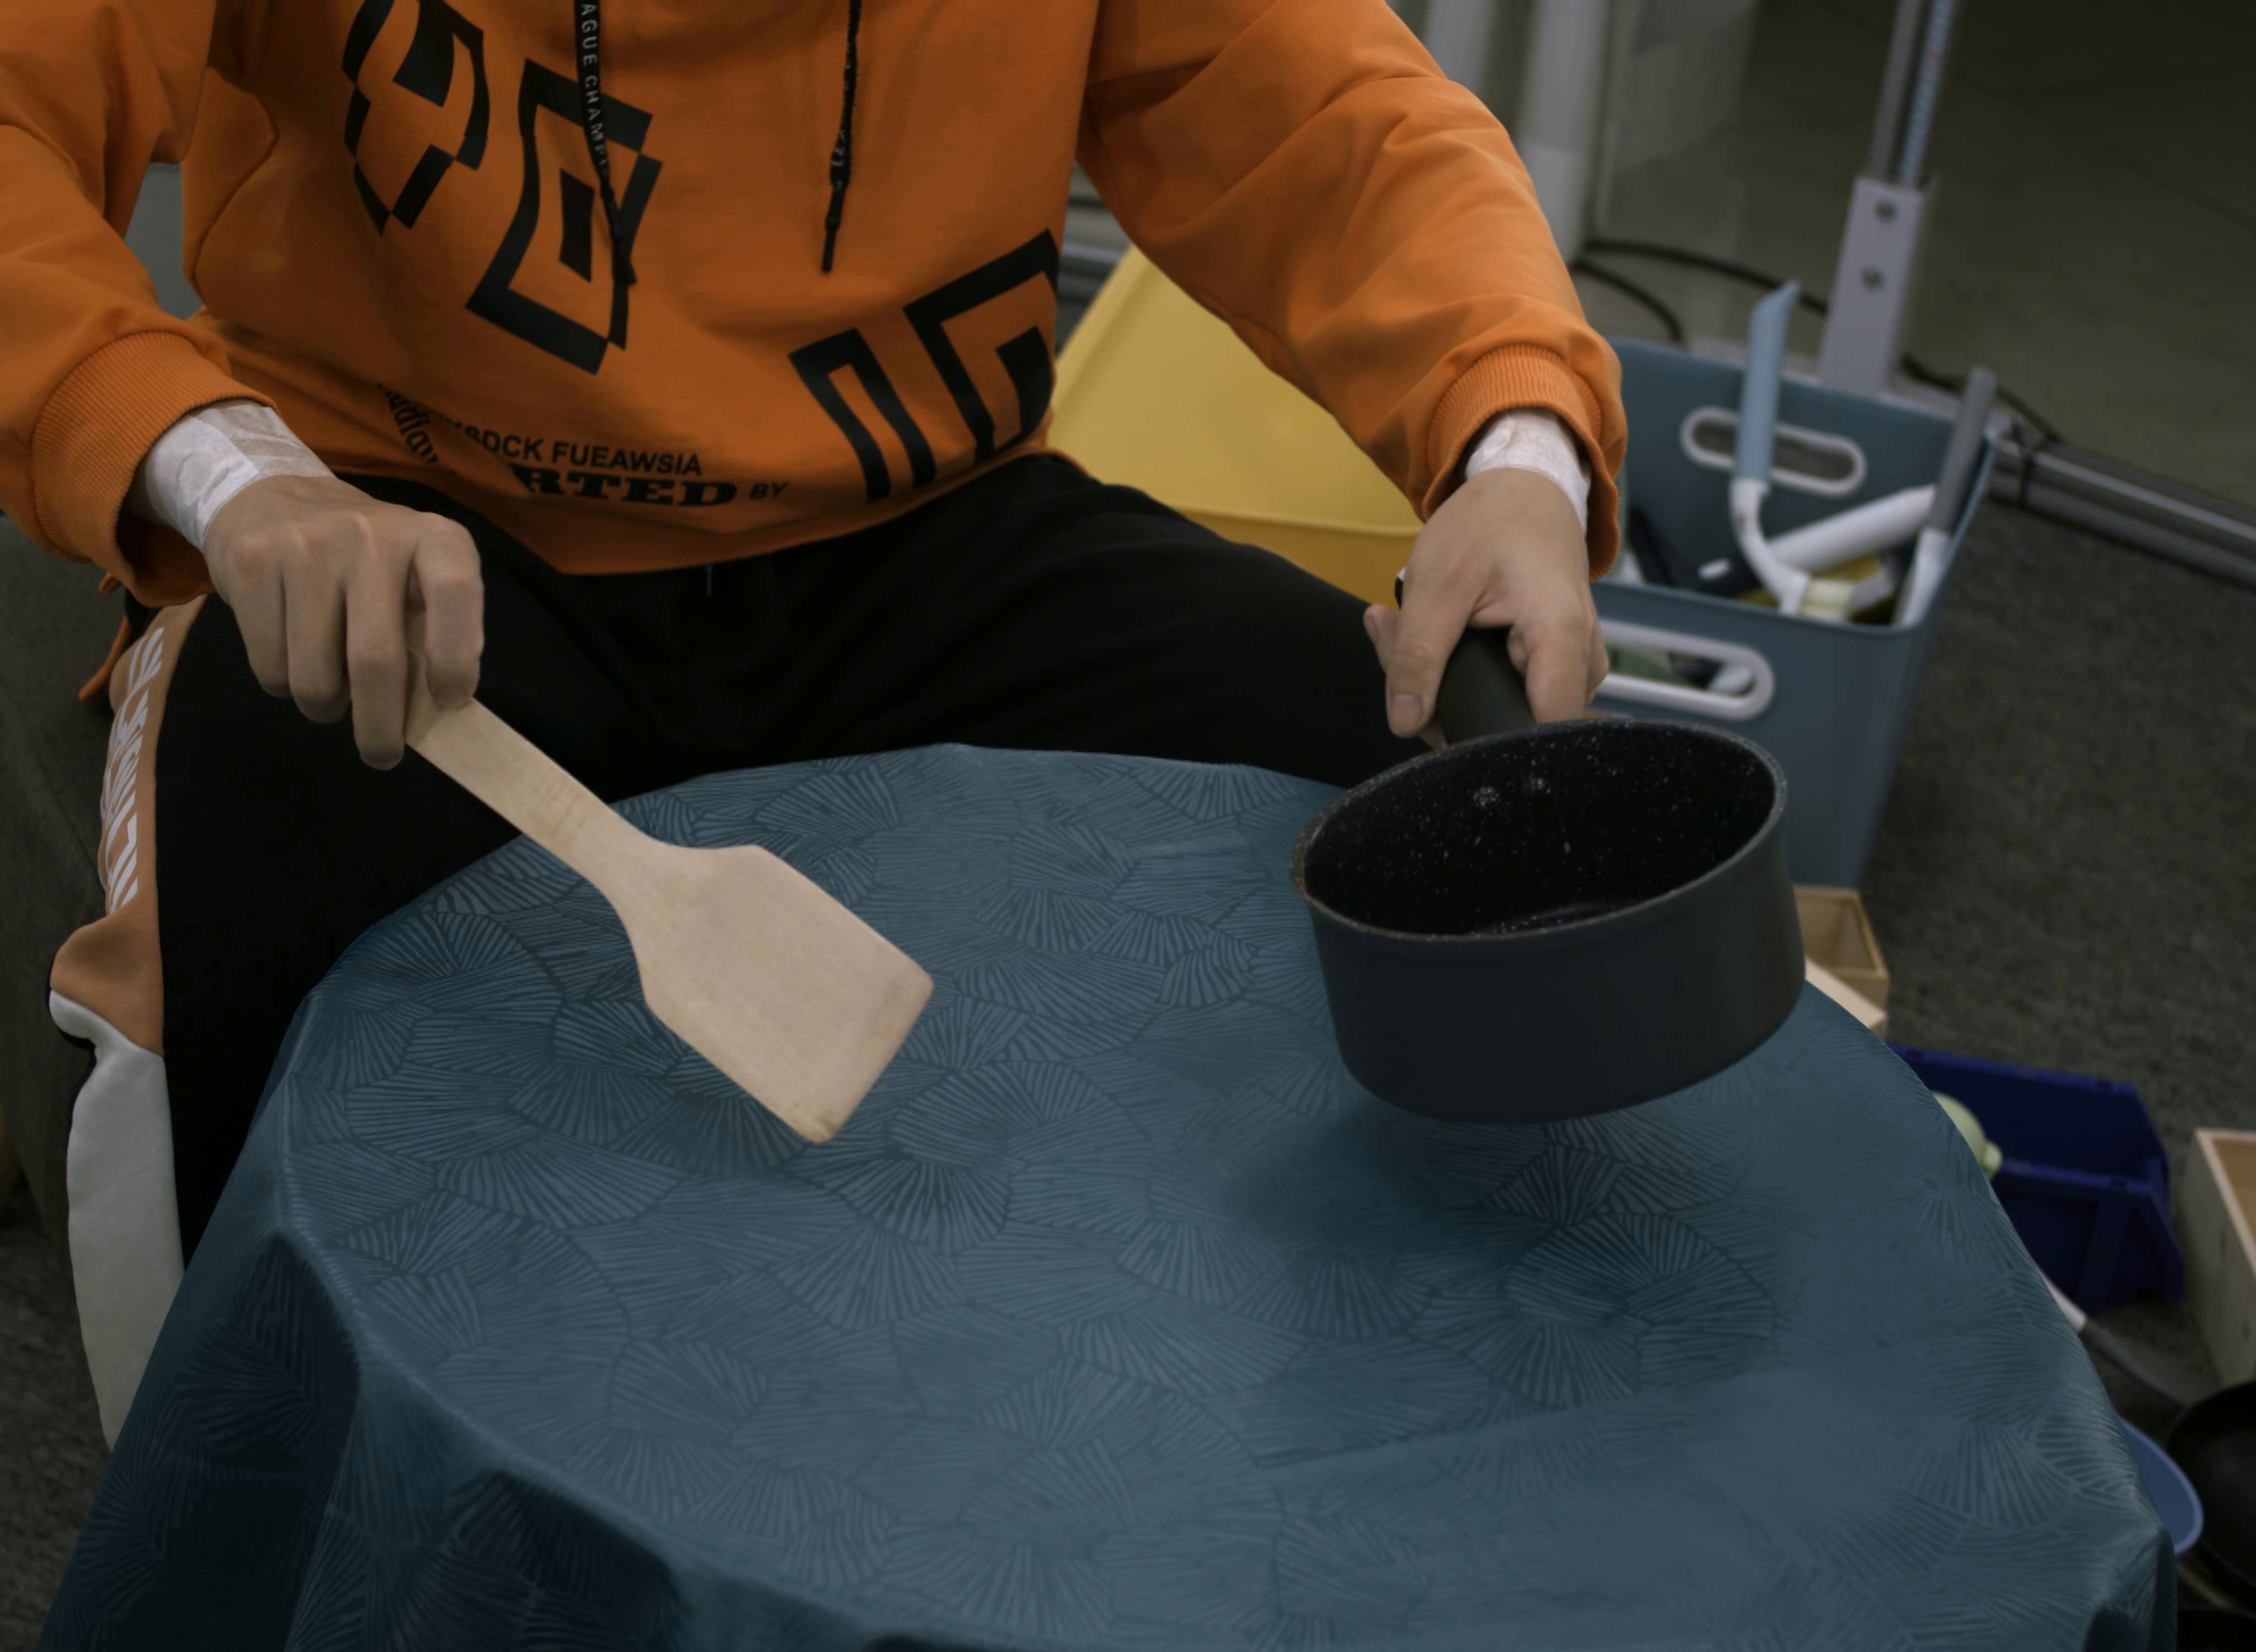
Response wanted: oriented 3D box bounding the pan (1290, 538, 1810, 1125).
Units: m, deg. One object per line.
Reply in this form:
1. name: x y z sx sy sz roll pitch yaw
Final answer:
1. pan: 0.141 -0.003 1.885 0.171 0.086 0.331 -11 24 2

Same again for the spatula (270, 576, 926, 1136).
1. spatula: -0.192 -0.003 1.827 0.295 0.072 0.010 36 5 24
